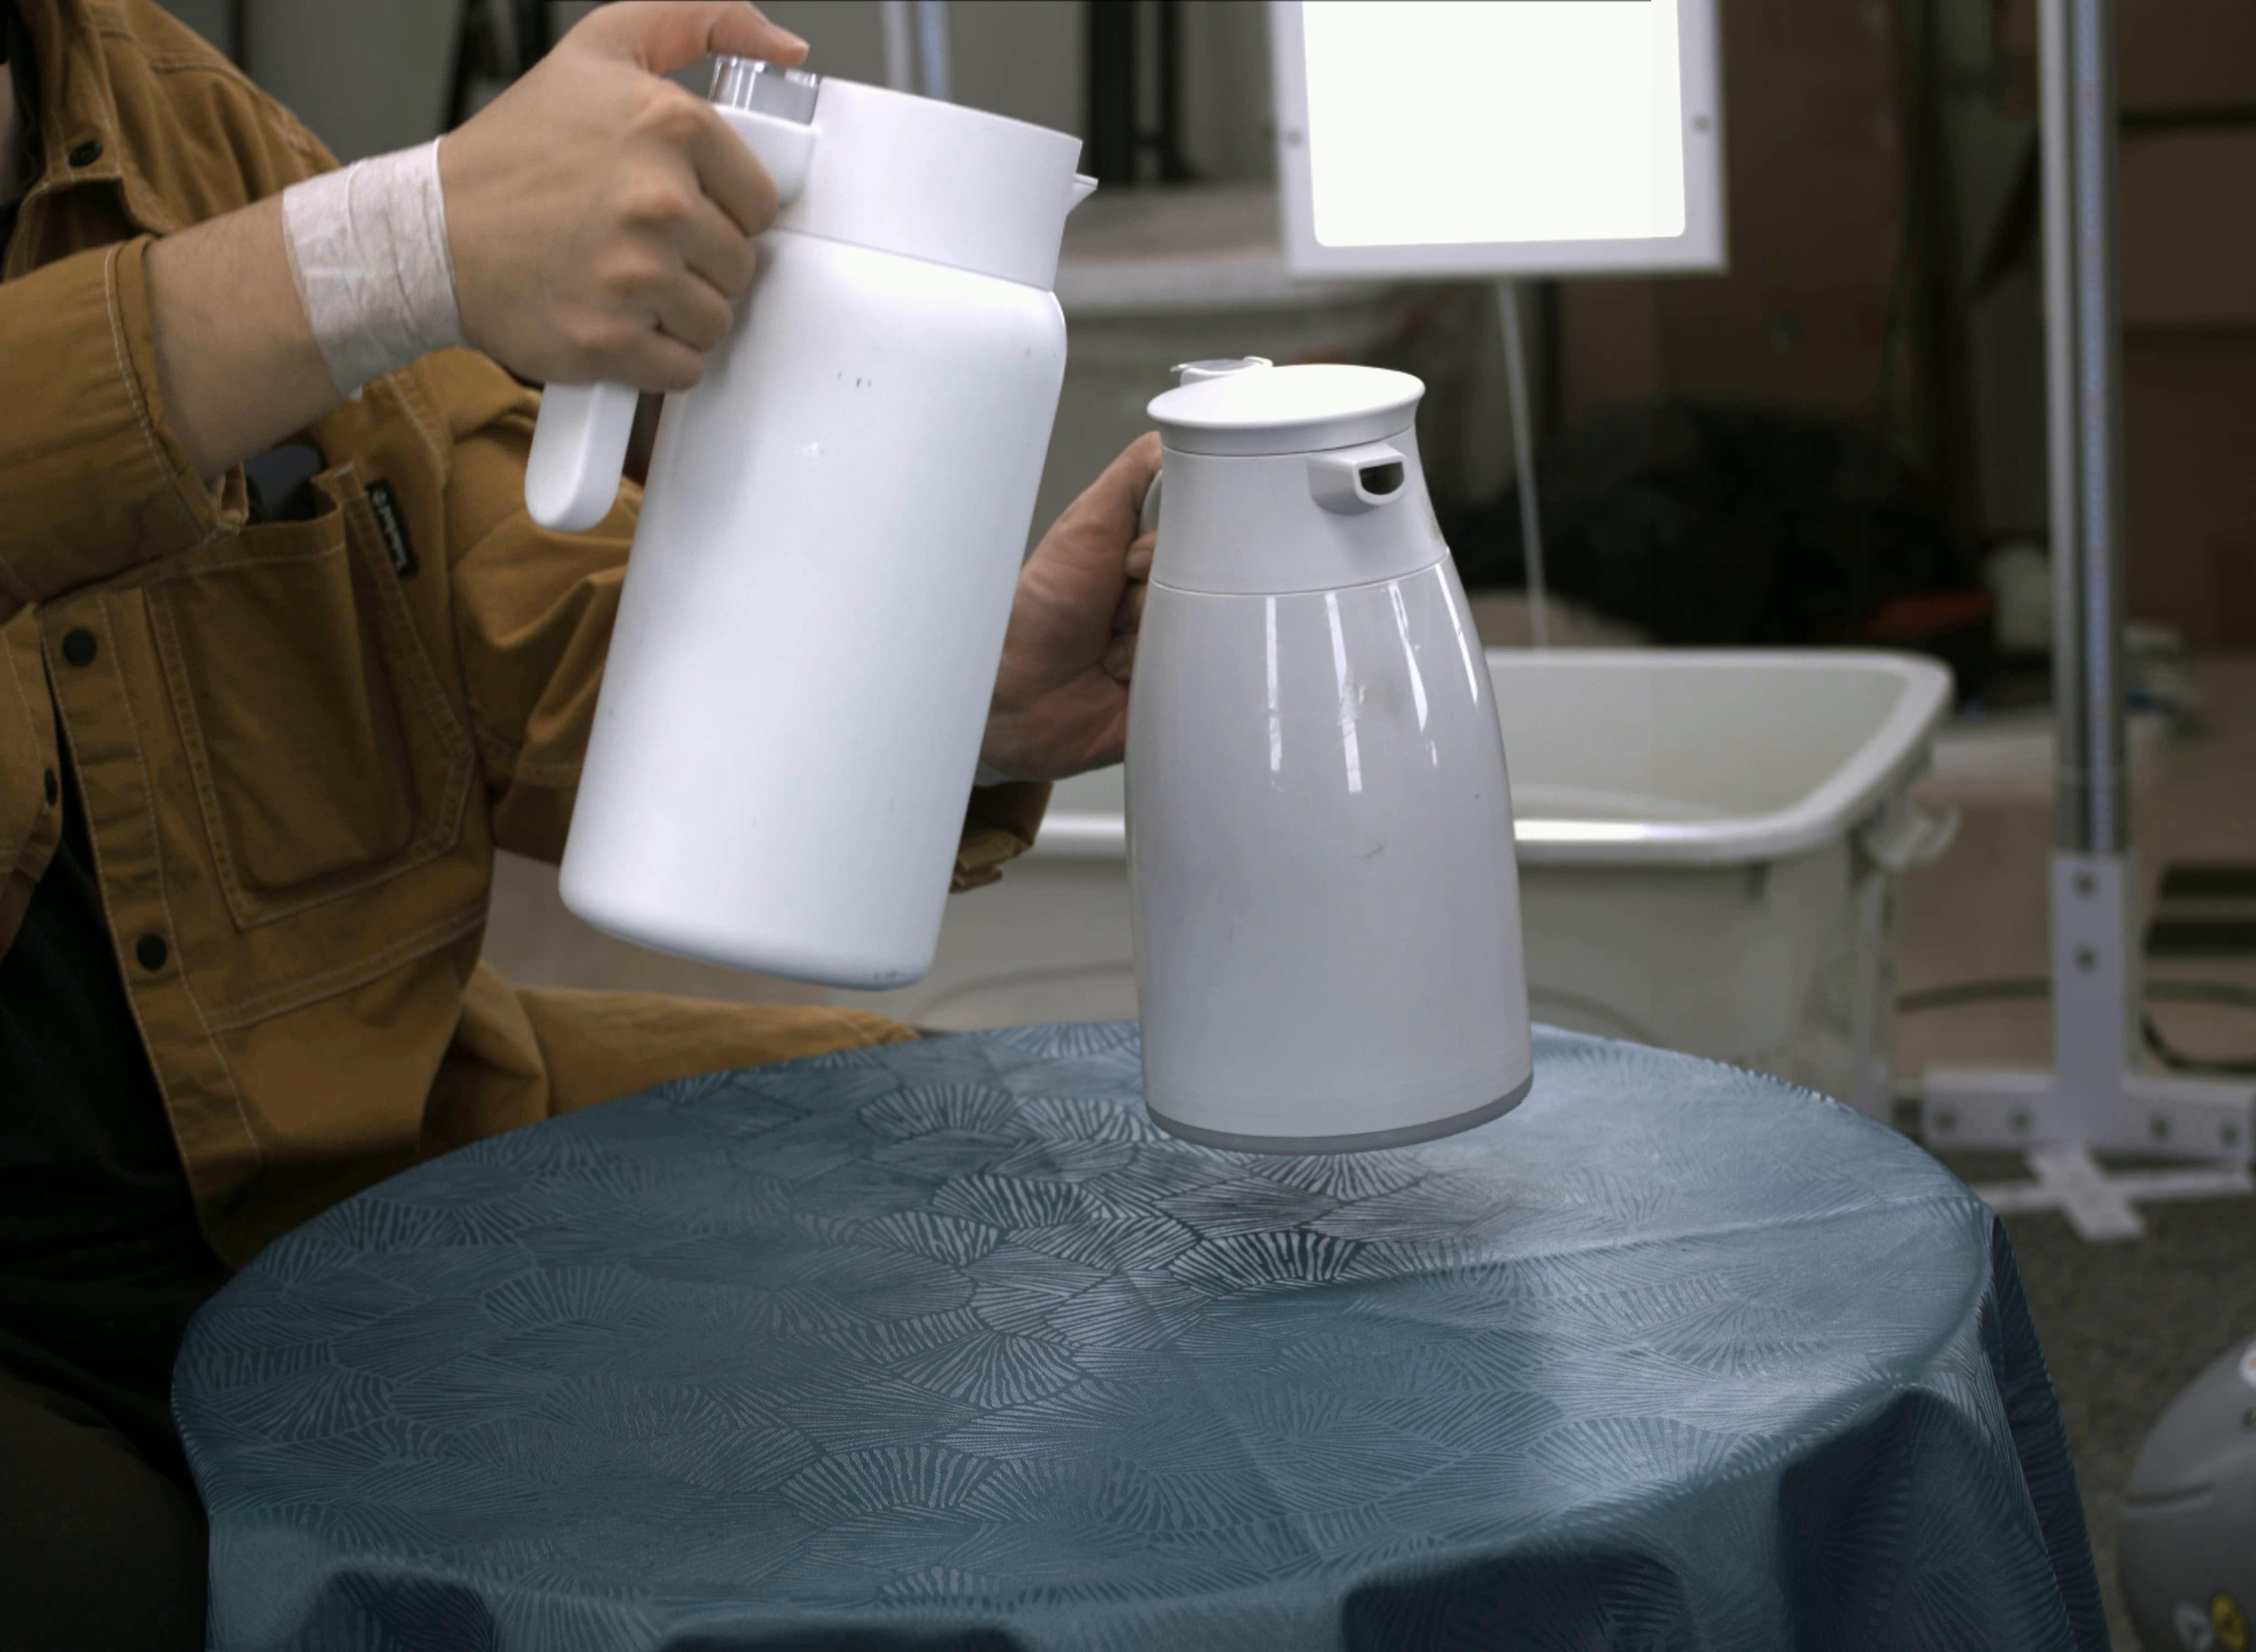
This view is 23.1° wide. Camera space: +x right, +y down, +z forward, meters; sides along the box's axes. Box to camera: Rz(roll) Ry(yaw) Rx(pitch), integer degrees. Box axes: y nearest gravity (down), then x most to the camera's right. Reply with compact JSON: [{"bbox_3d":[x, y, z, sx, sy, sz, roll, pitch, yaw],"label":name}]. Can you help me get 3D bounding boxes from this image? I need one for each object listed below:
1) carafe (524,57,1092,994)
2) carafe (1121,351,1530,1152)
[{"bbox_3d":[-0.103,-0.091,1.660,0.168,0.270,0.126,8,8,-39],"label":"carafe"},{"bbox_3d":[0.050,-0.033,1.835,0.130,0.249,0.170,-12,15,-25],"label":"carafe"}]
